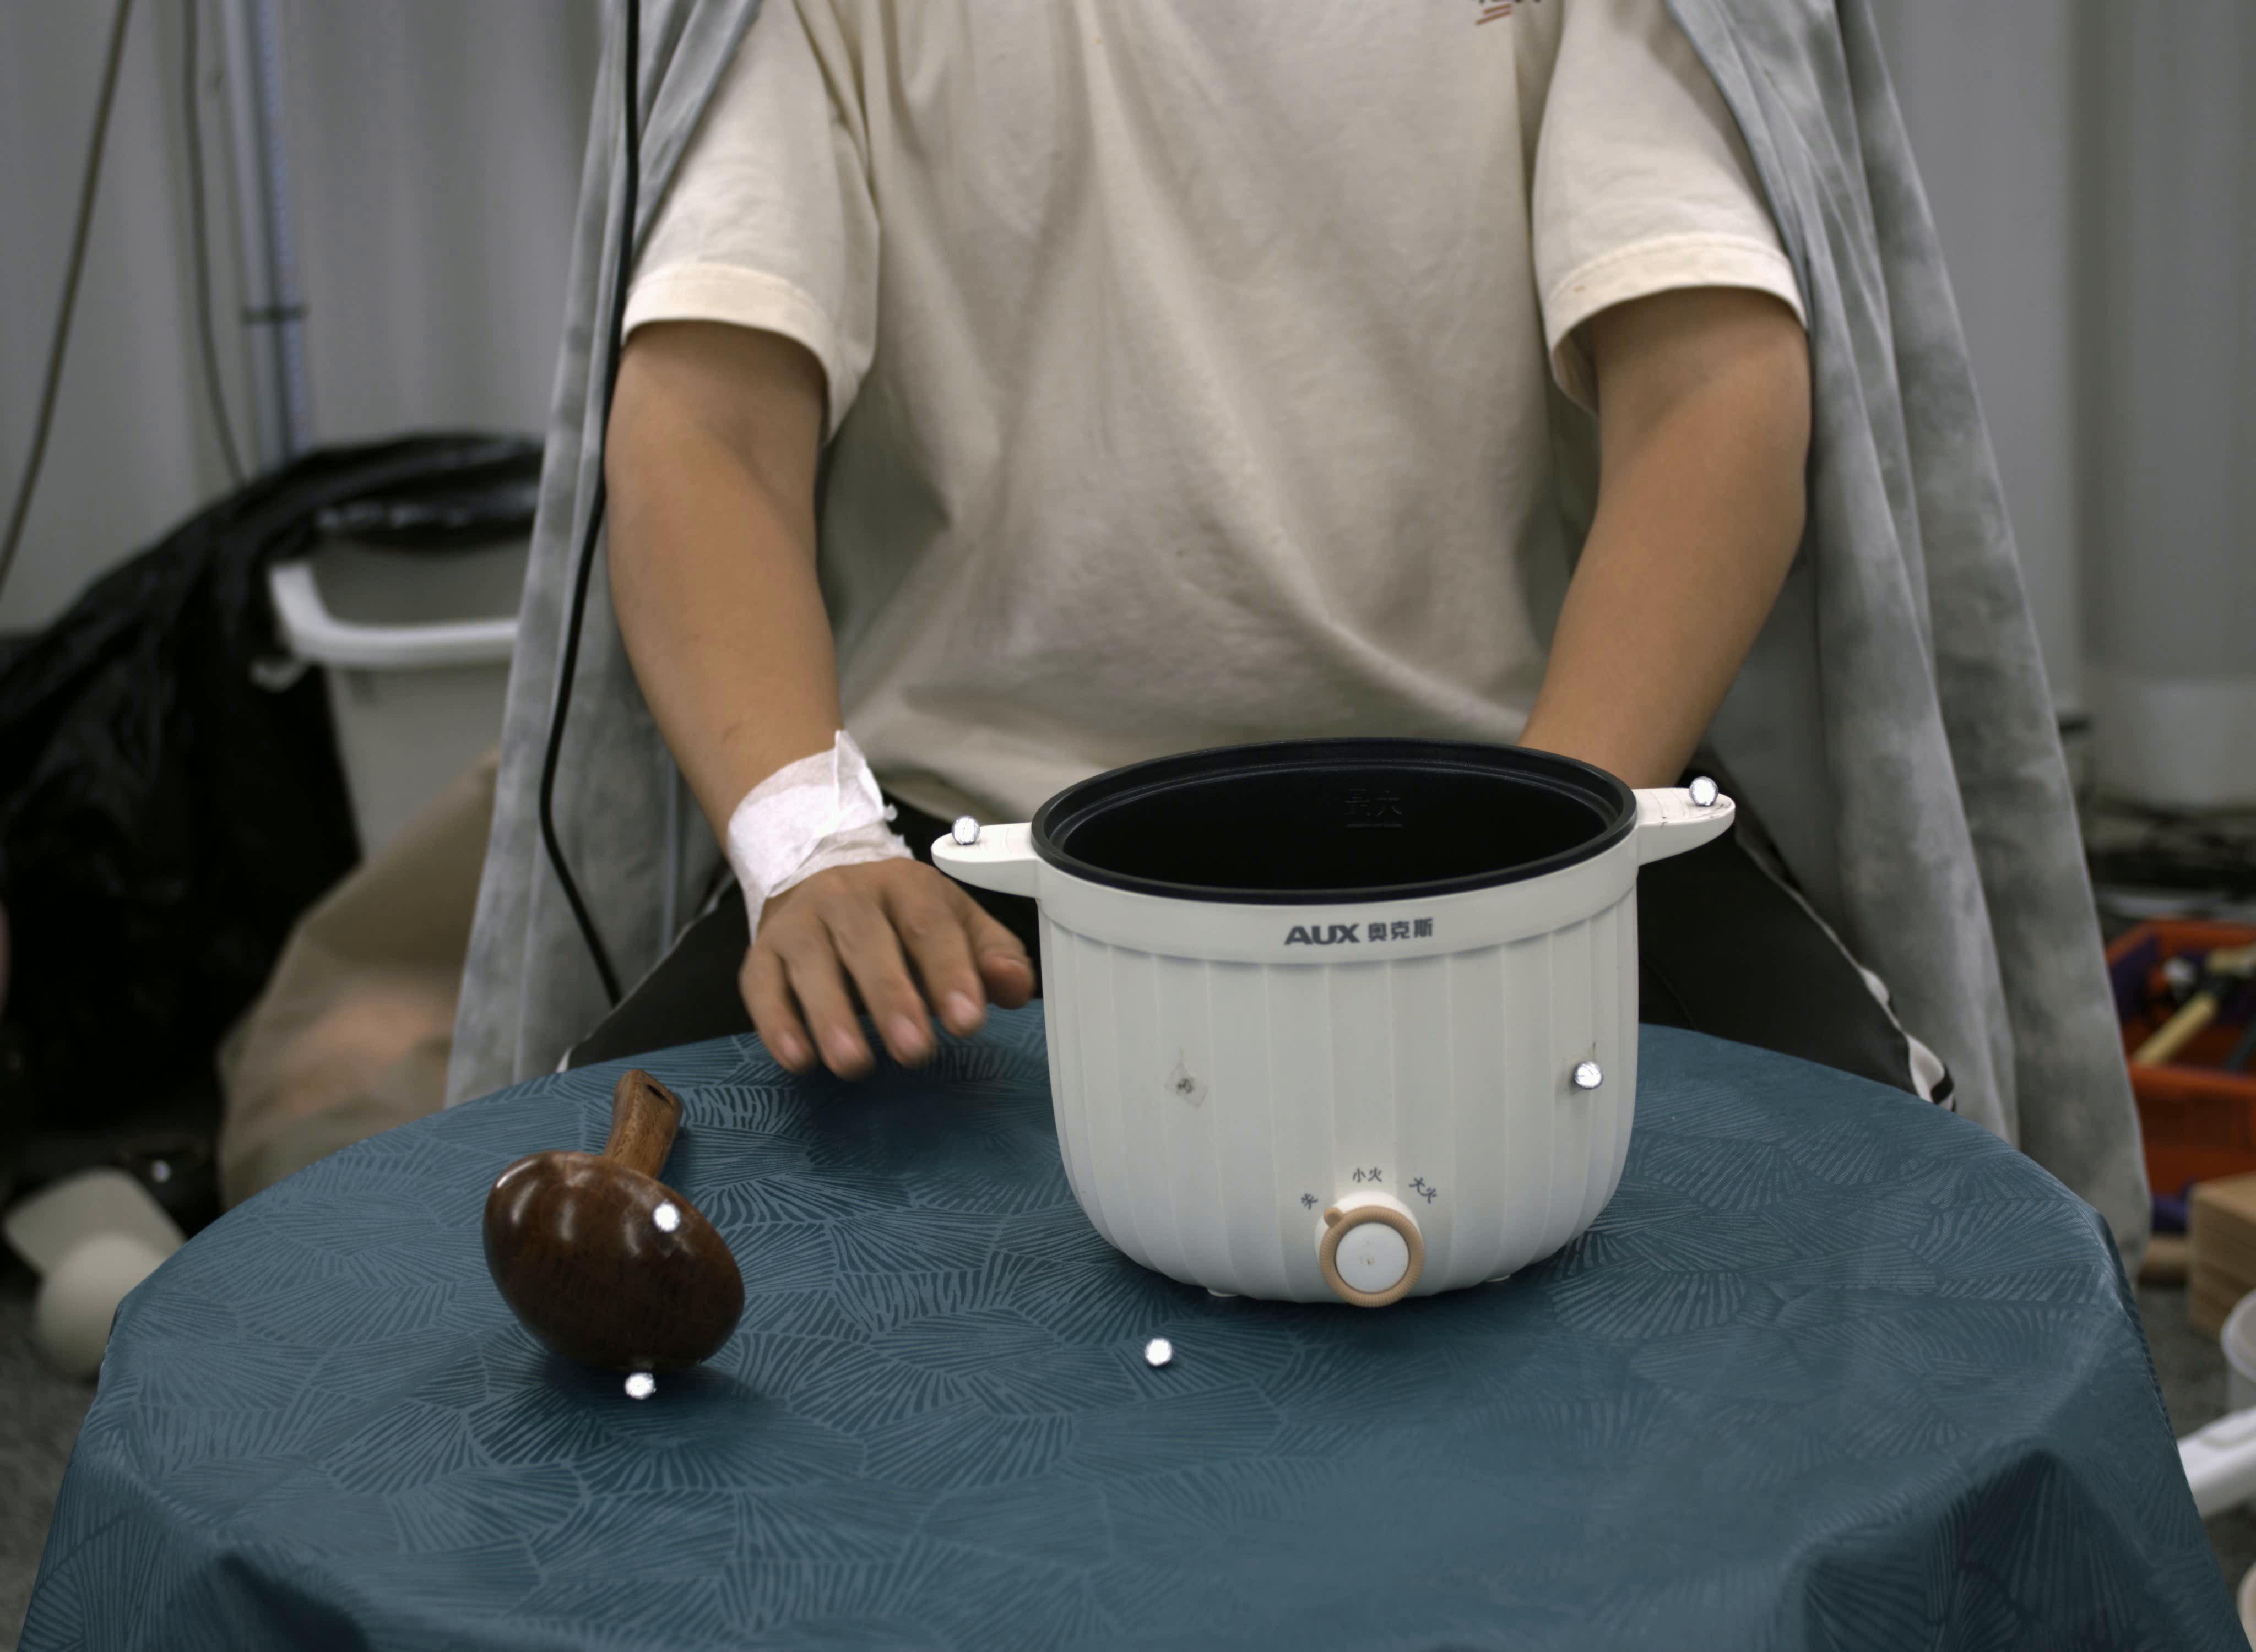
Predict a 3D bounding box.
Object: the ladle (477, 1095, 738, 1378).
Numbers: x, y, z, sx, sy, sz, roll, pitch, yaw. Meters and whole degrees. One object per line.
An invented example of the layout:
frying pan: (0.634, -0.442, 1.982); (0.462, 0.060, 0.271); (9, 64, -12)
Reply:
ladle: (-0.142, 0.102, 1.667); (0.076, 0.082, 0.275); (-46, 5, 13)

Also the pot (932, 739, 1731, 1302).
pot: (0.065, 0.061, 1.642); (0.239, 0.142, 0.191); (-4, 11, -1)
